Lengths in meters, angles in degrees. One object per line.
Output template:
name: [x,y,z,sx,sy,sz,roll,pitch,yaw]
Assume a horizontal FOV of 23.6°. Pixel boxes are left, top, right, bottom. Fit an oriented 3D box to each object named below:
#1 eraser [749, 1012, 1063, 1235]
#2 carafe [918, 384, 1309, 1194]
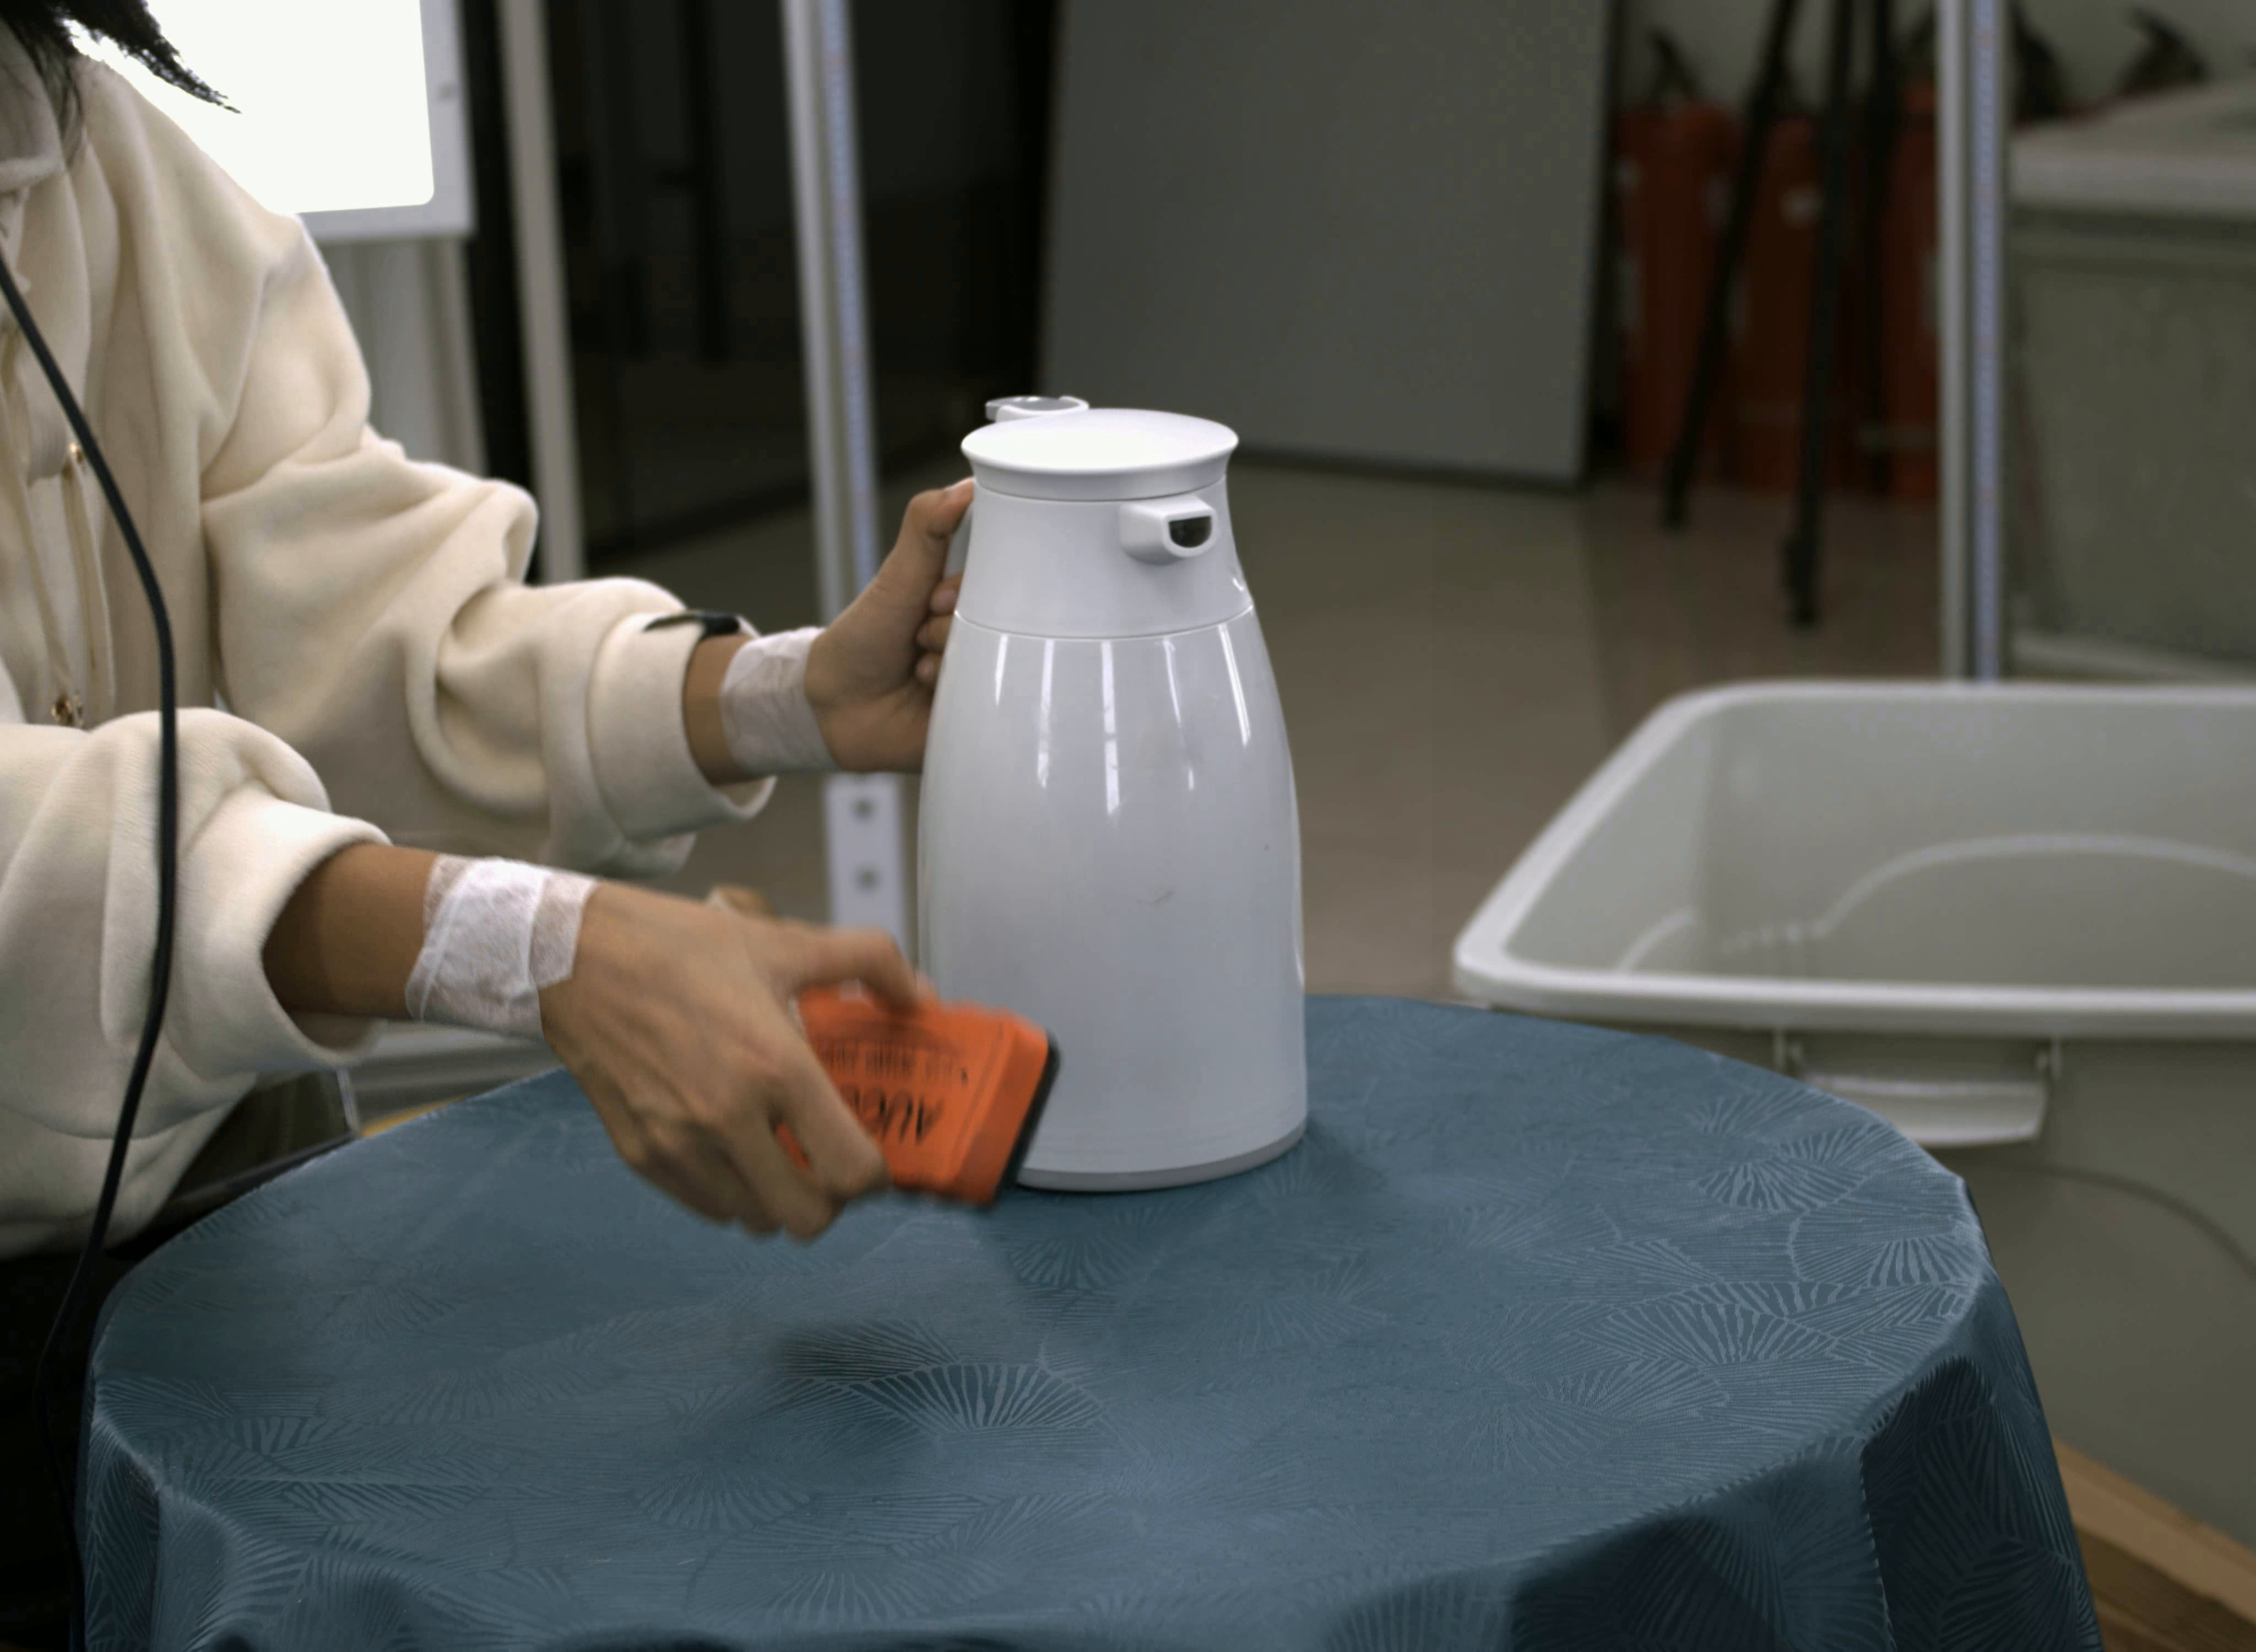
eraser: [-0.067,0.089,1.631,0.022,0.059,0.109,35,-20,-35]
carafe: [-0.018,-0.020,1.814,0.129,0.251,0.169,-10,16,-27]
